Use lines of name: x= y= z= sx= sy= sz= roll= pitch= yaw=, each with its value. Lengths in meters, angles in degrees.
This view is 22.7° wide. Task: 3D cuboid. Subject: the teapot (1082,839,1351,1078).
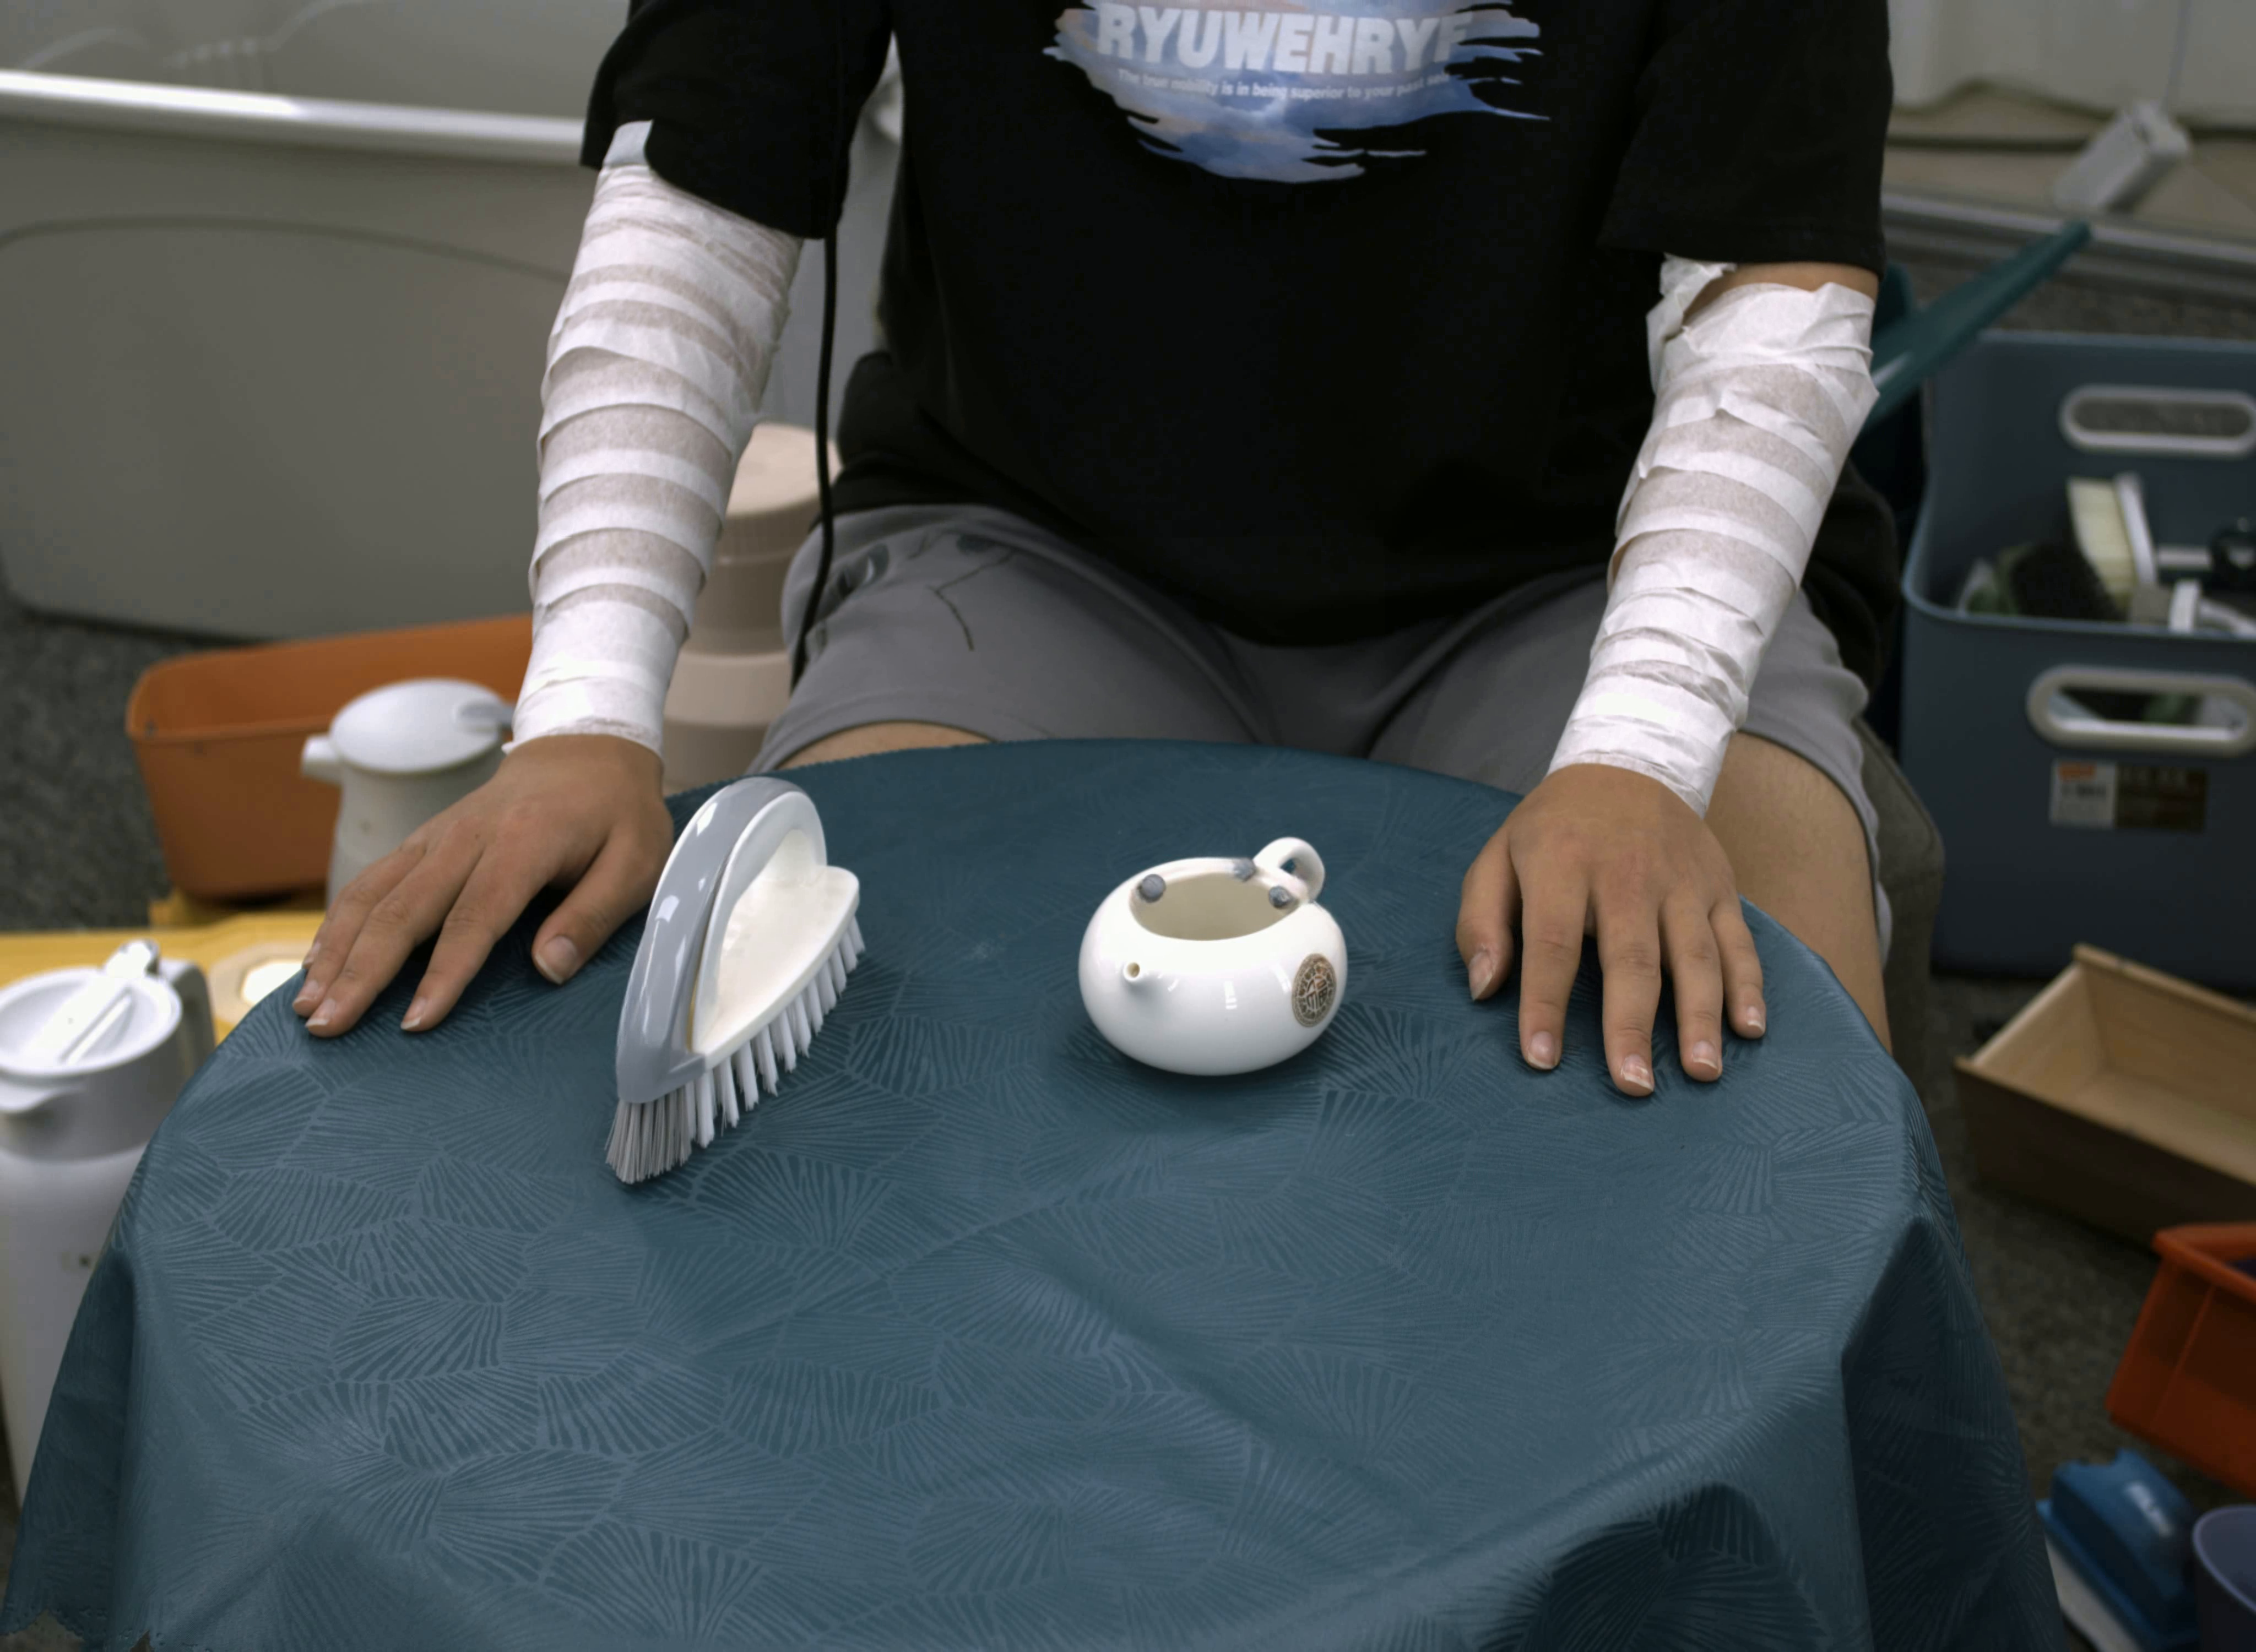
teapot: x=0.036 y=0.045 z=1.948 sx=0.093 sy=0.056 sz=0.129 roll=9 pitch=28 yaw=30

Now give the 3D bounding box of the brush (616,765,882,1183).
brush: x=-0.140 y=0.043 z=1.930 sx=0.061 sy=0.093 sz=0.178 roll=3 pitch=29 yaw=18
